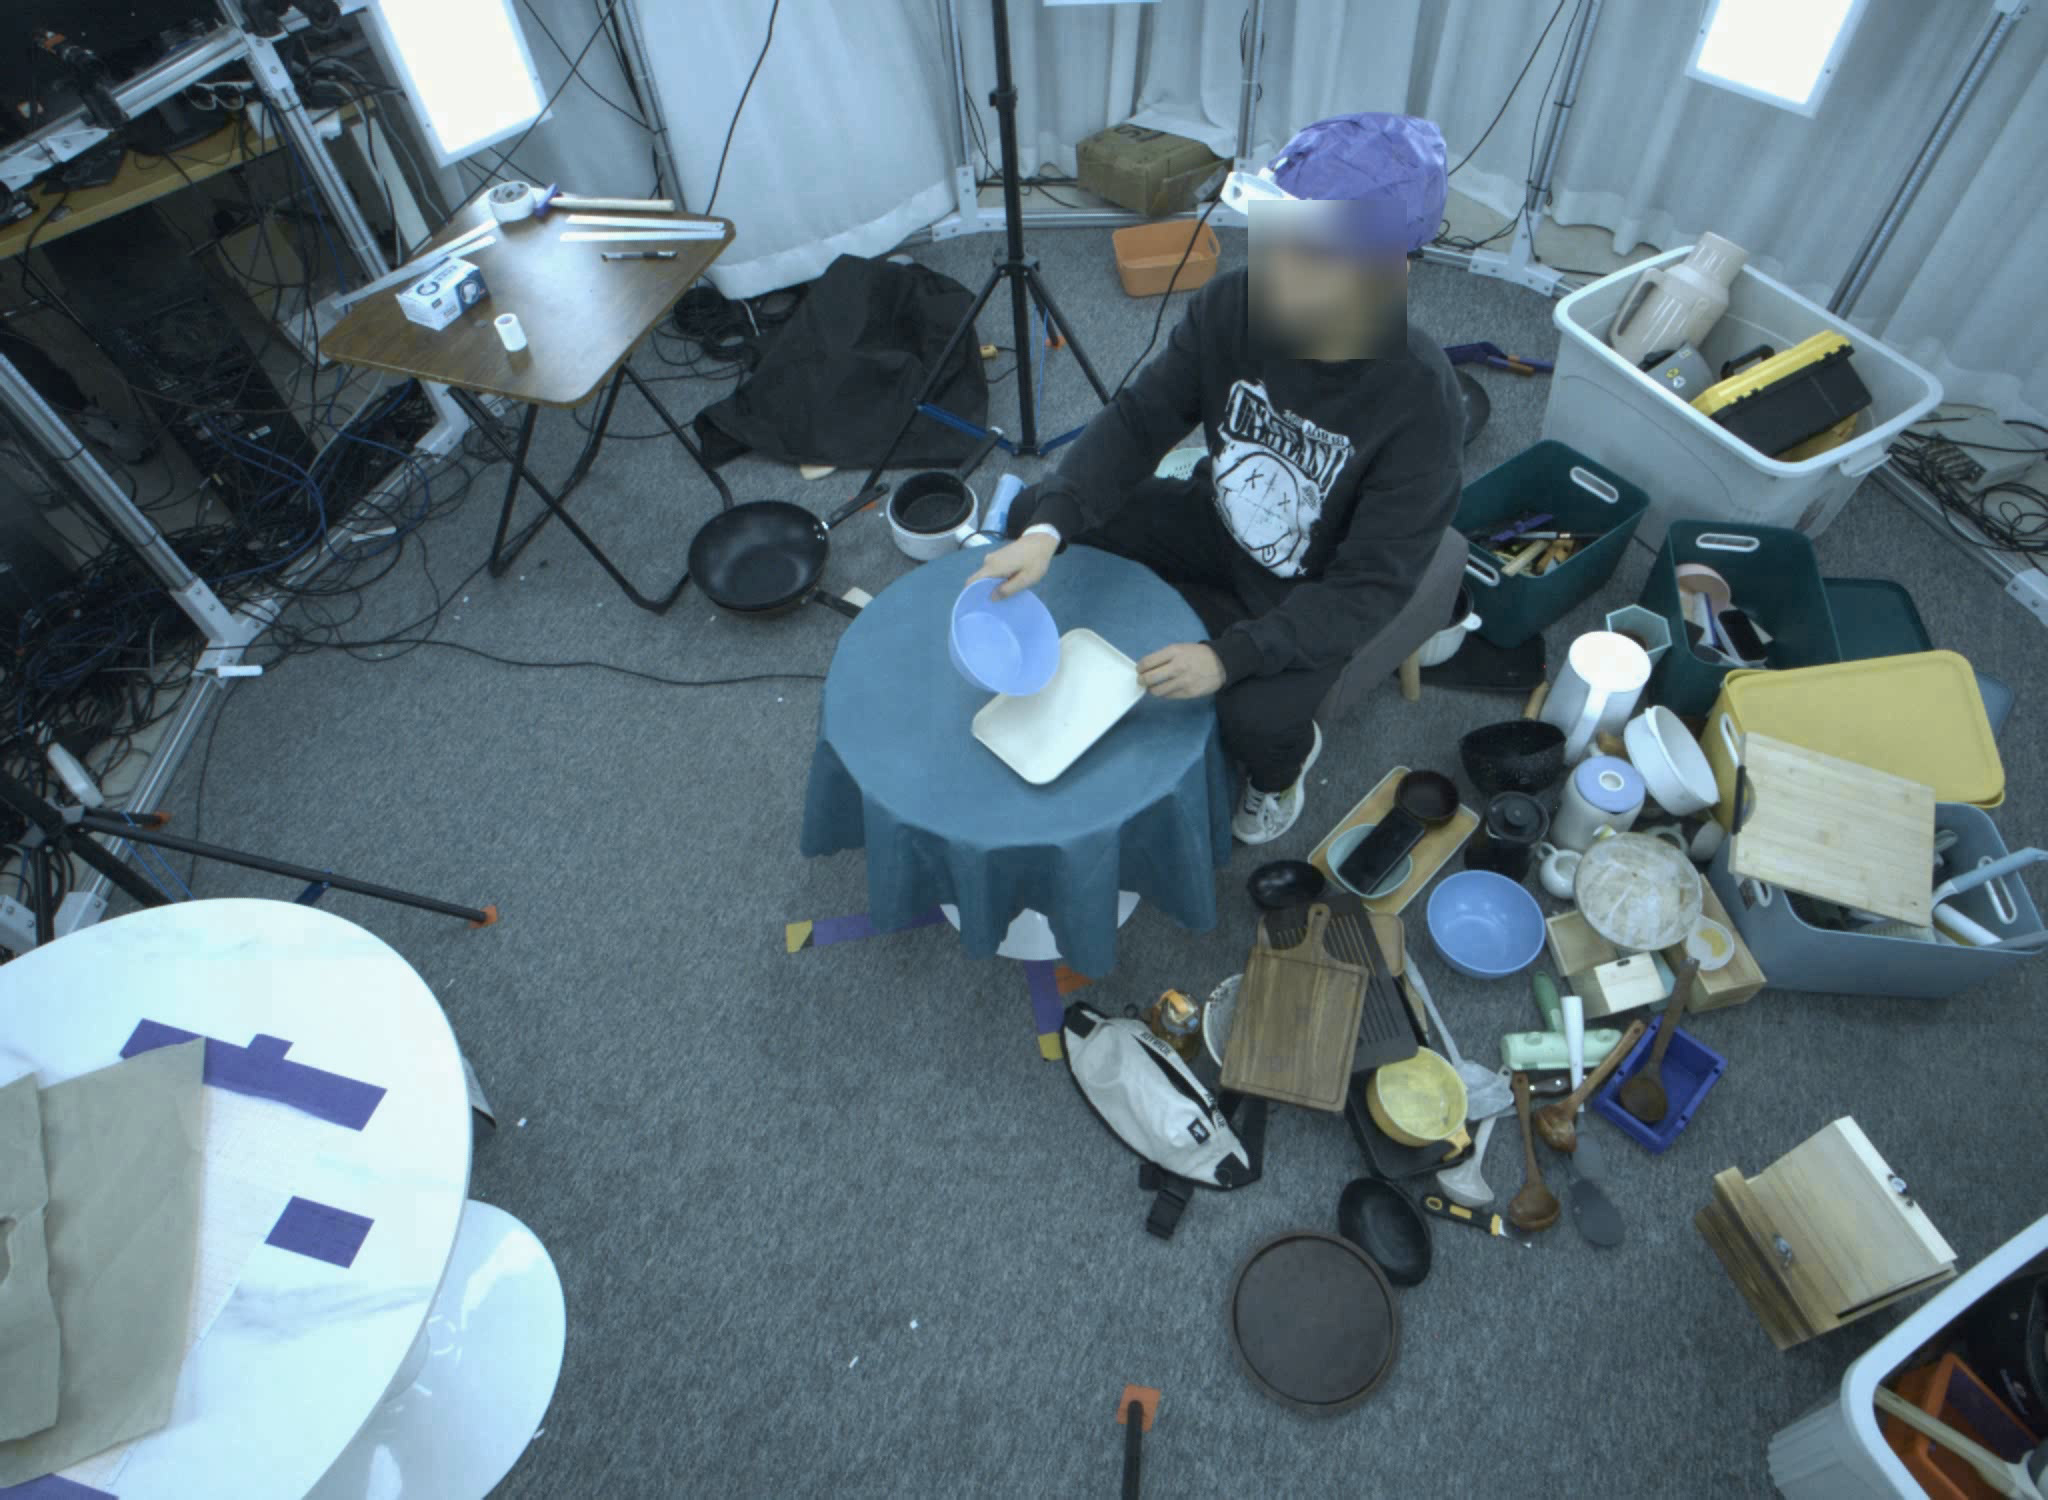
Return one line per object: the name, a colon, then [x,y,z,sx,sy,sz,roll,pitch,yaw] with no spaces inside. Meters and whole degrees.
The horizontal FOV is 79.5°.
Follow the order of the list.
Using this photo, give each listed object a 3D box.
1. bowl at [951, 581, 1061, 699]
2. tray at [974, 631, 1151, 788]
bowl: [-0.037,-0.147,1.745,0.180,0.069,0.175,12,69,-31]
tray: [0.056,-0.060,1.800,0.240,0.018,0.168,-43,61,-12]
